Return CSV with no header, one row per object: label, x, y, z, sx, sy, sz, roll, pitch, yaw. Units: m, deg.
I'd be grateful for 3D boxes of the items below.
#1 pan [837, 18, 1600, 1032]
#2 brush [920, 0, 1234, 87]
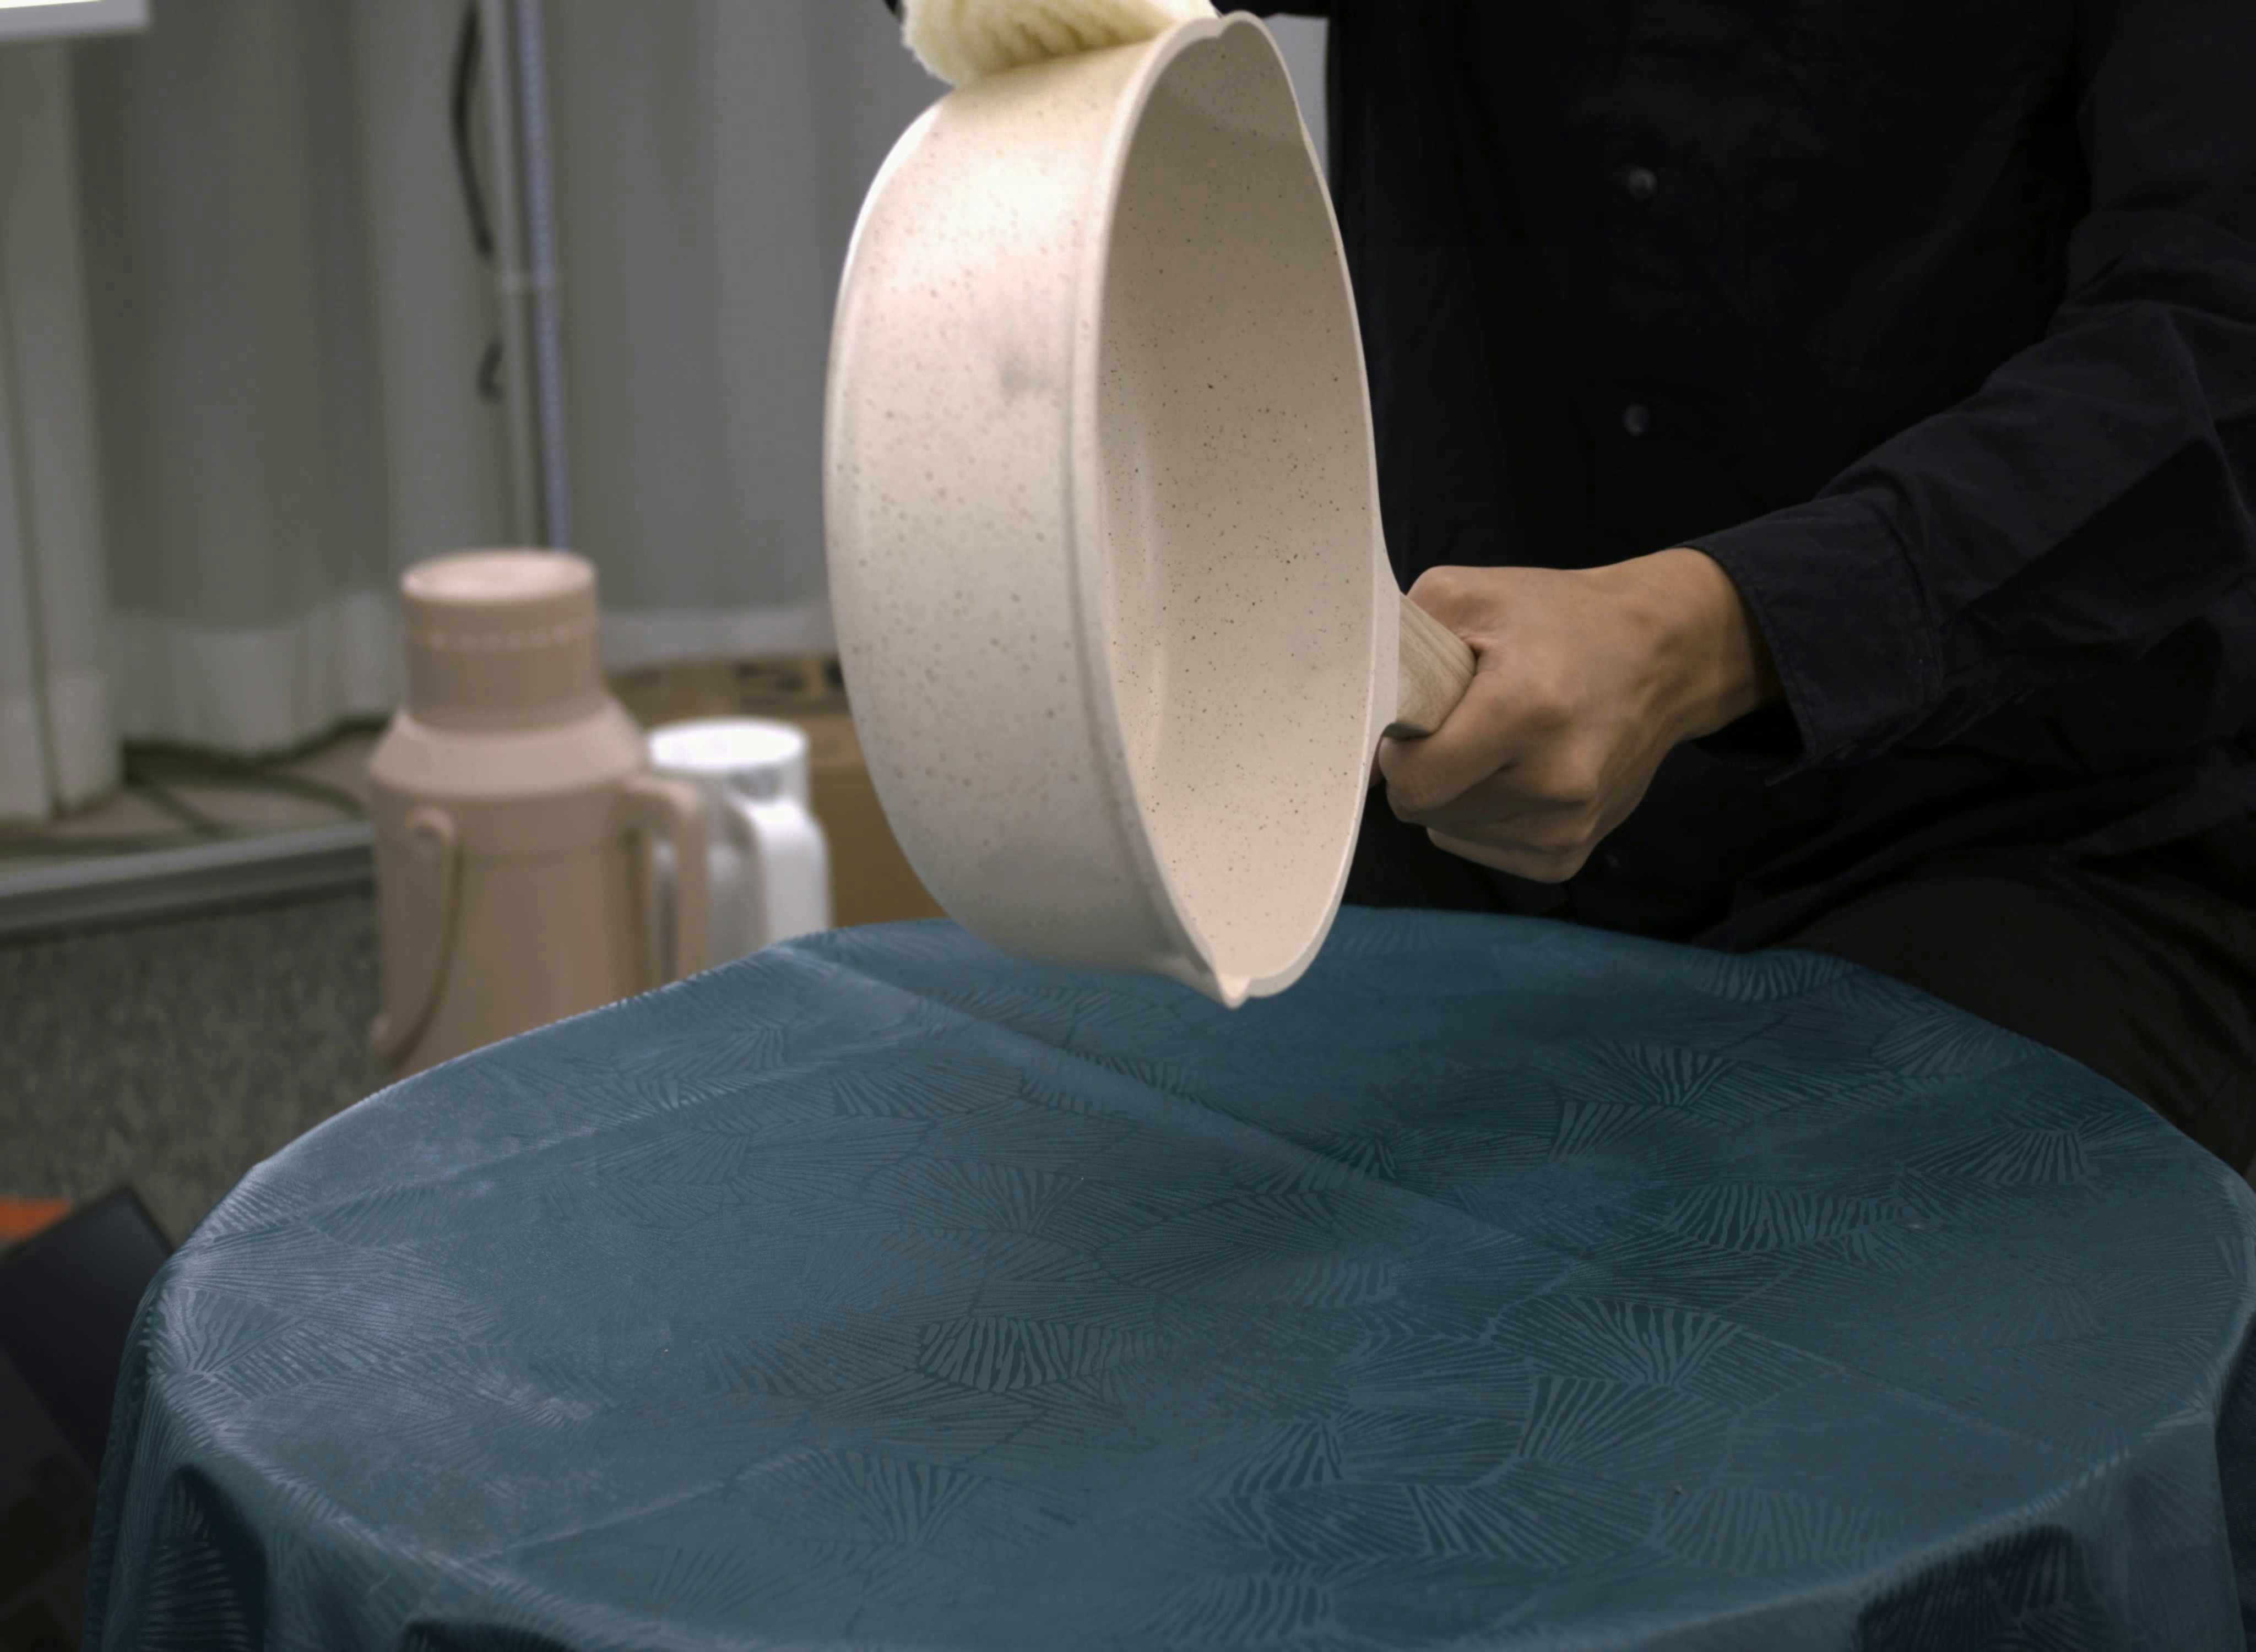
pan,0.031,-0.055,1.454,0.103,0.265,0.427,-4,-15,18
brush,0.002,-0.235,1.459,0.083,0.085,0.323,26,11,7
